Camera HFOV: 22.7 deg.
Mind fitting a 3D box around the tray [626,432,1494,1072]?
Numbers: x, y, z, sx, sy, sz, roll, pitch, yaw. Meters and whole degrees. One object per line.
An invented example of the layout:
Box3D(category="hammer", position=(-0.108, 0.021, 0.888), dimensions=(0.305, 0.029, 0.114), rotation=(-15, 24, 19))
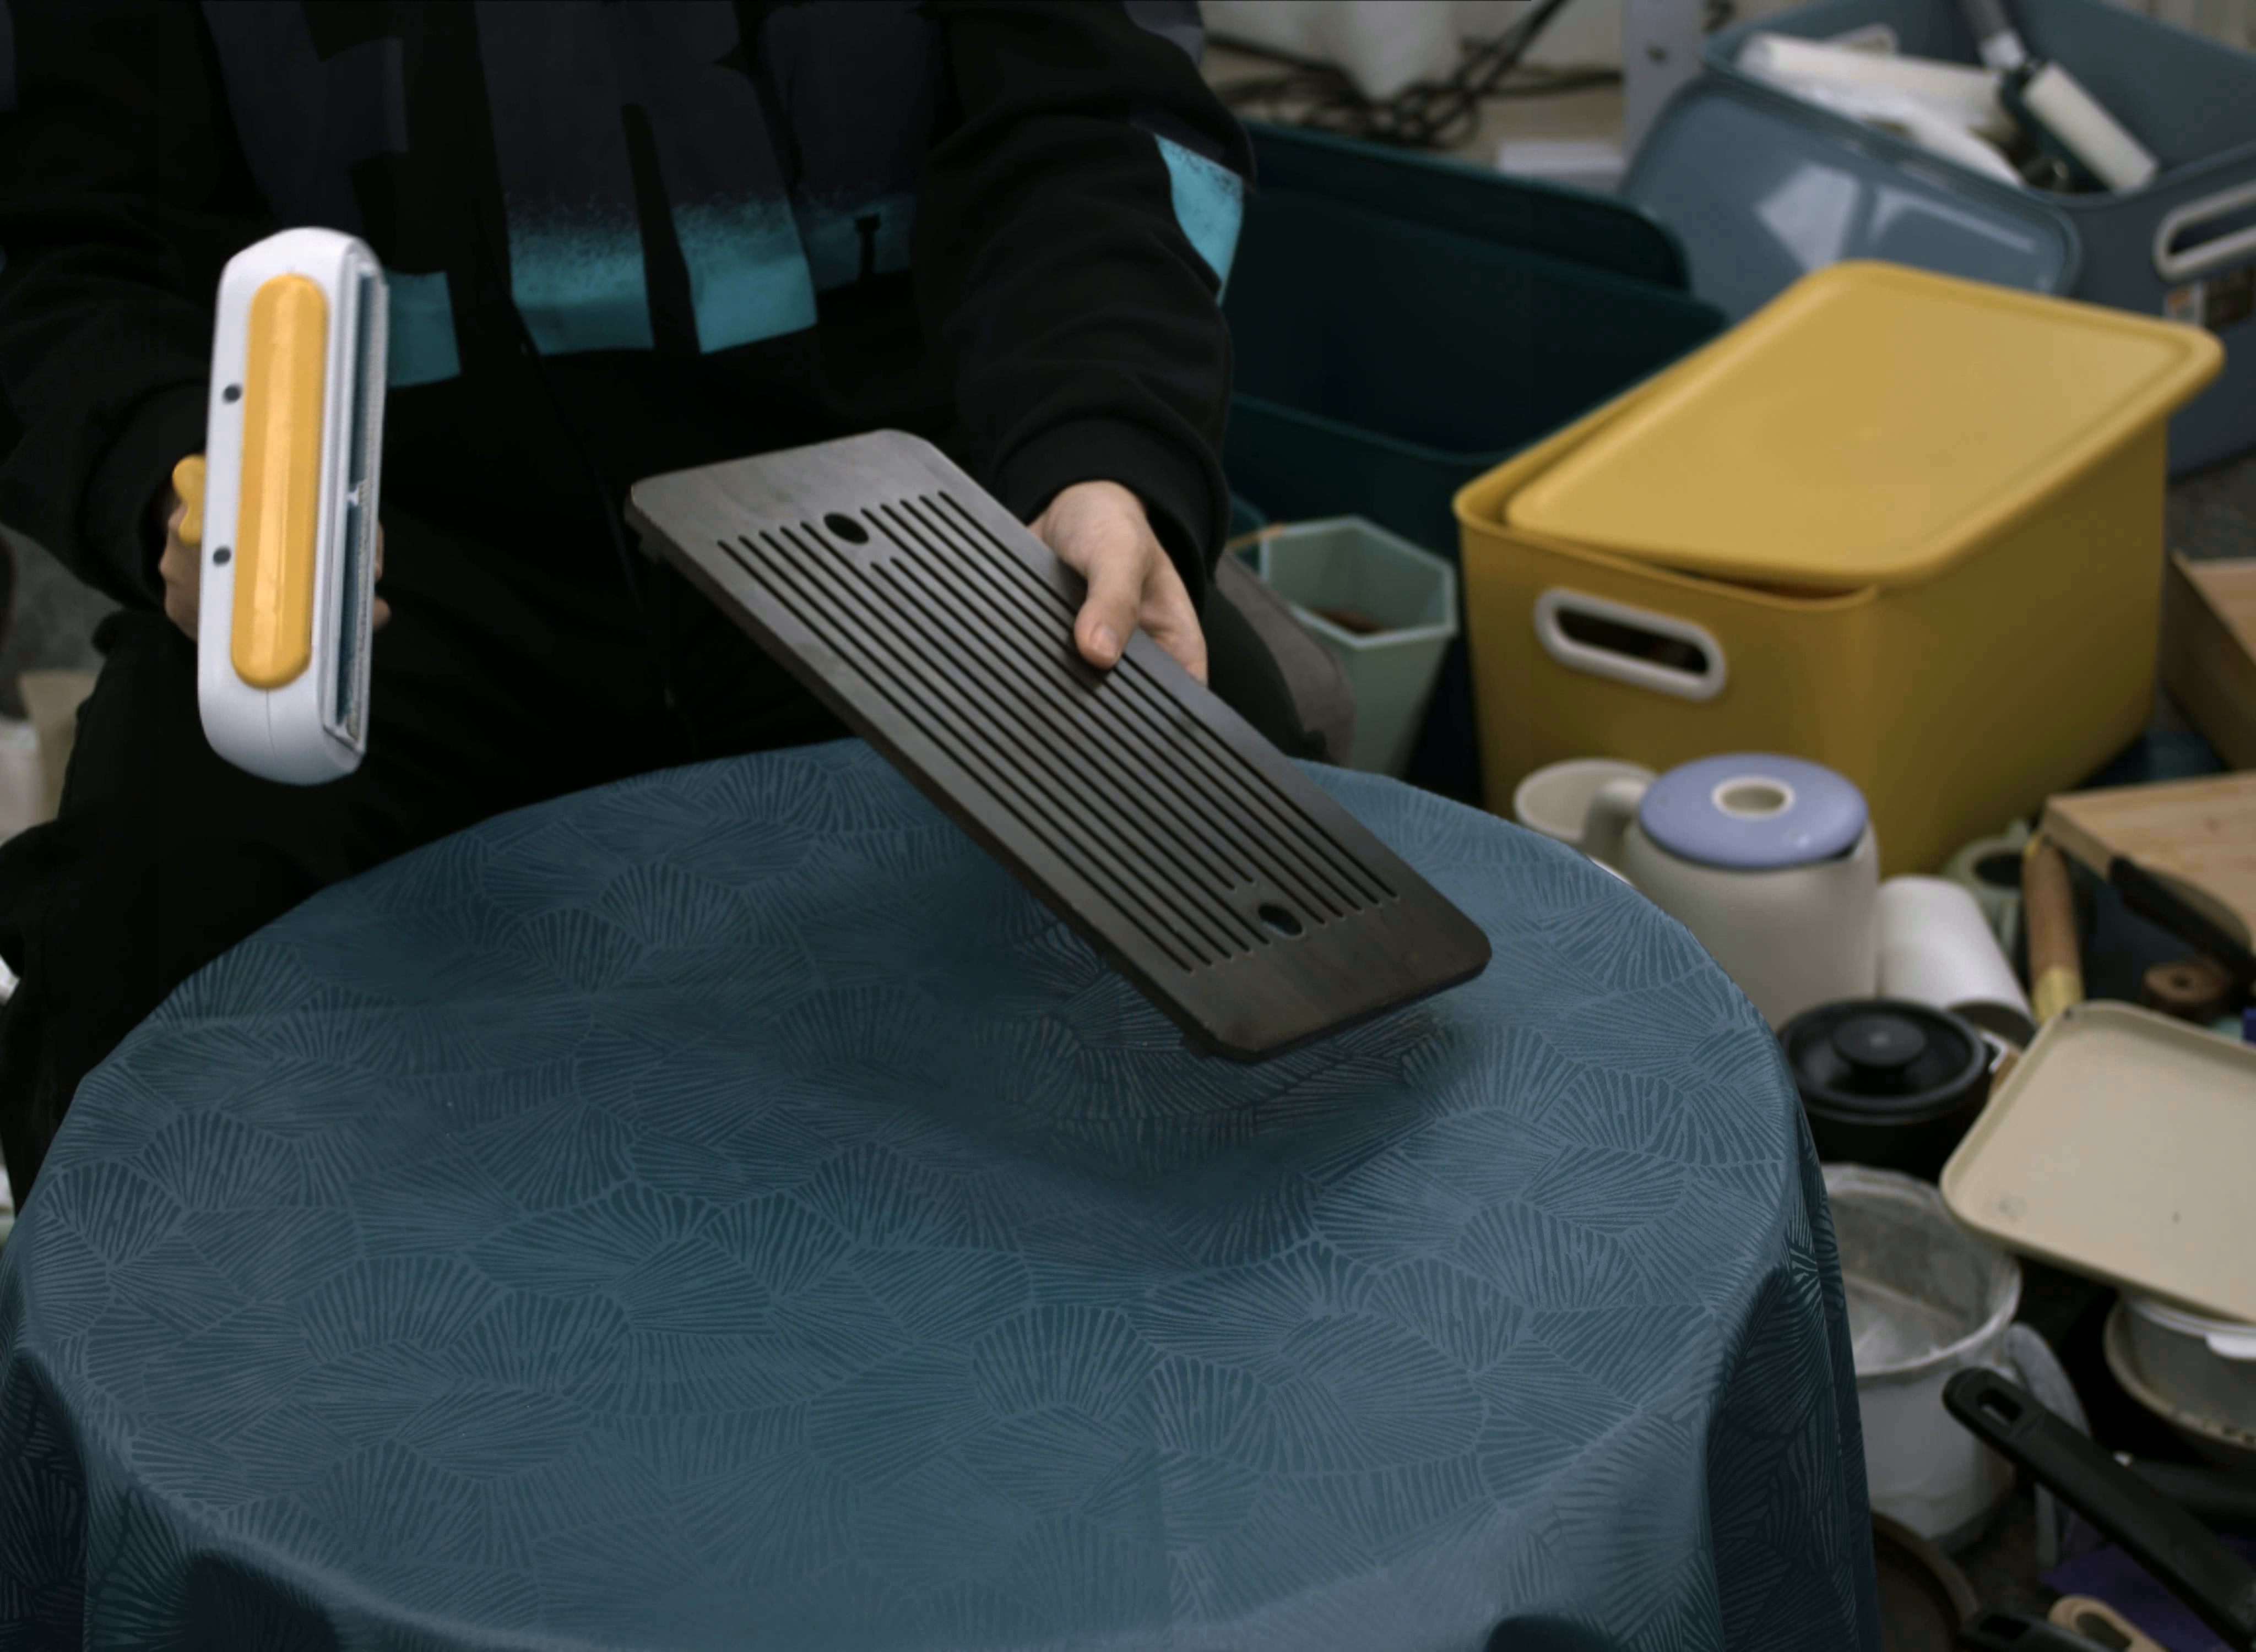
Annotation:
Box3D(category="tray", position=(-0.024, -0.029, 1.930), dimensions=(0.307, 0.018, 0.172), rotation=(42, 31, 21))

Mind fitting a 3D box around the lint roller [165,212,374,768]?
Box3D(category="lint roller", position=(-0.293, -0.098, 1.986), dimensions=(0.074, 0.195, 0.190), rotation=(-6, -17, 0))
